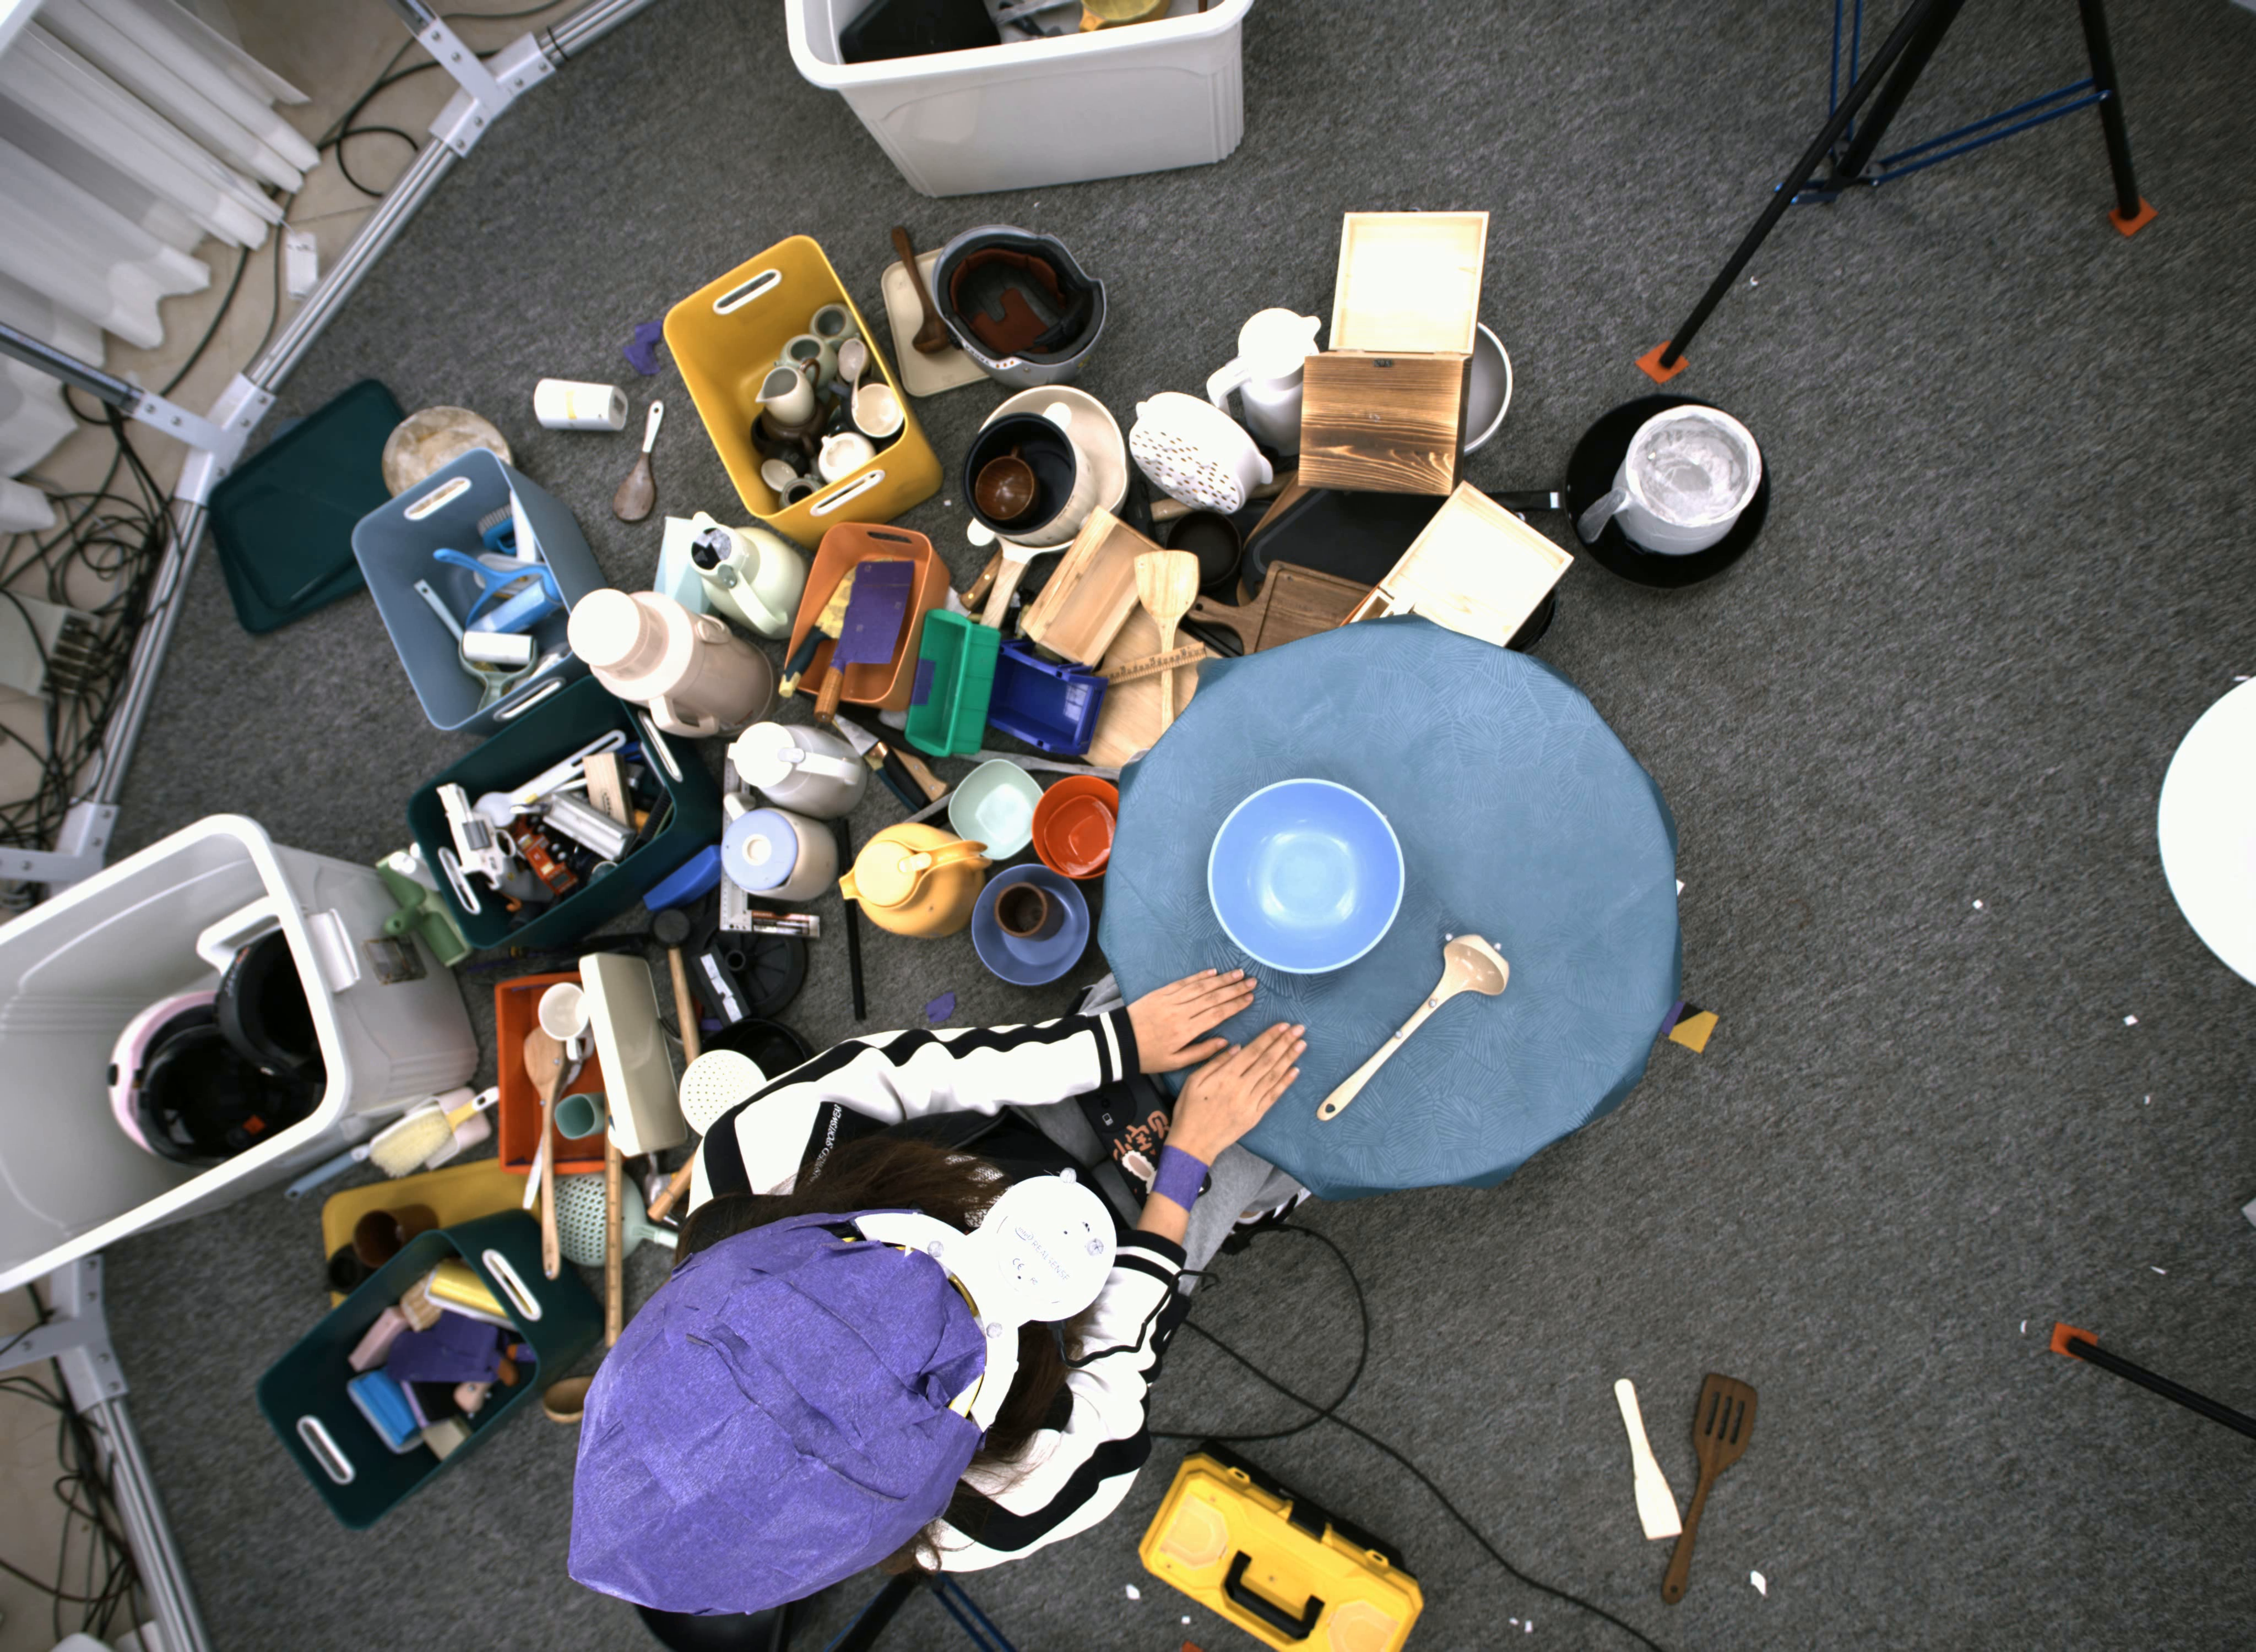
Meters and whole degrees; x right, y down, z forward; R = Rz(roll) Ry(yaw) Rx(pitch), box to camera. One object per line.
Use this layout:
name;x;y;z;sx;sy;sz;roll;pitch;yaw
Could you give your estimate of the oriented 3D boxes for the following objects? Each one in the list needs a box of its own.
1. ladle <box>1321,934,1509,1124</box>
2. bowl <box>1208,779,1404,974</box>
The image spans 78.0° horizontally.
ladle;0.287;0.215;1.412;0.072;0.072;0.255;42;95;4
bowl;0.185;0.053;1.432;0.197;0.095;0.196;-1;88;10
